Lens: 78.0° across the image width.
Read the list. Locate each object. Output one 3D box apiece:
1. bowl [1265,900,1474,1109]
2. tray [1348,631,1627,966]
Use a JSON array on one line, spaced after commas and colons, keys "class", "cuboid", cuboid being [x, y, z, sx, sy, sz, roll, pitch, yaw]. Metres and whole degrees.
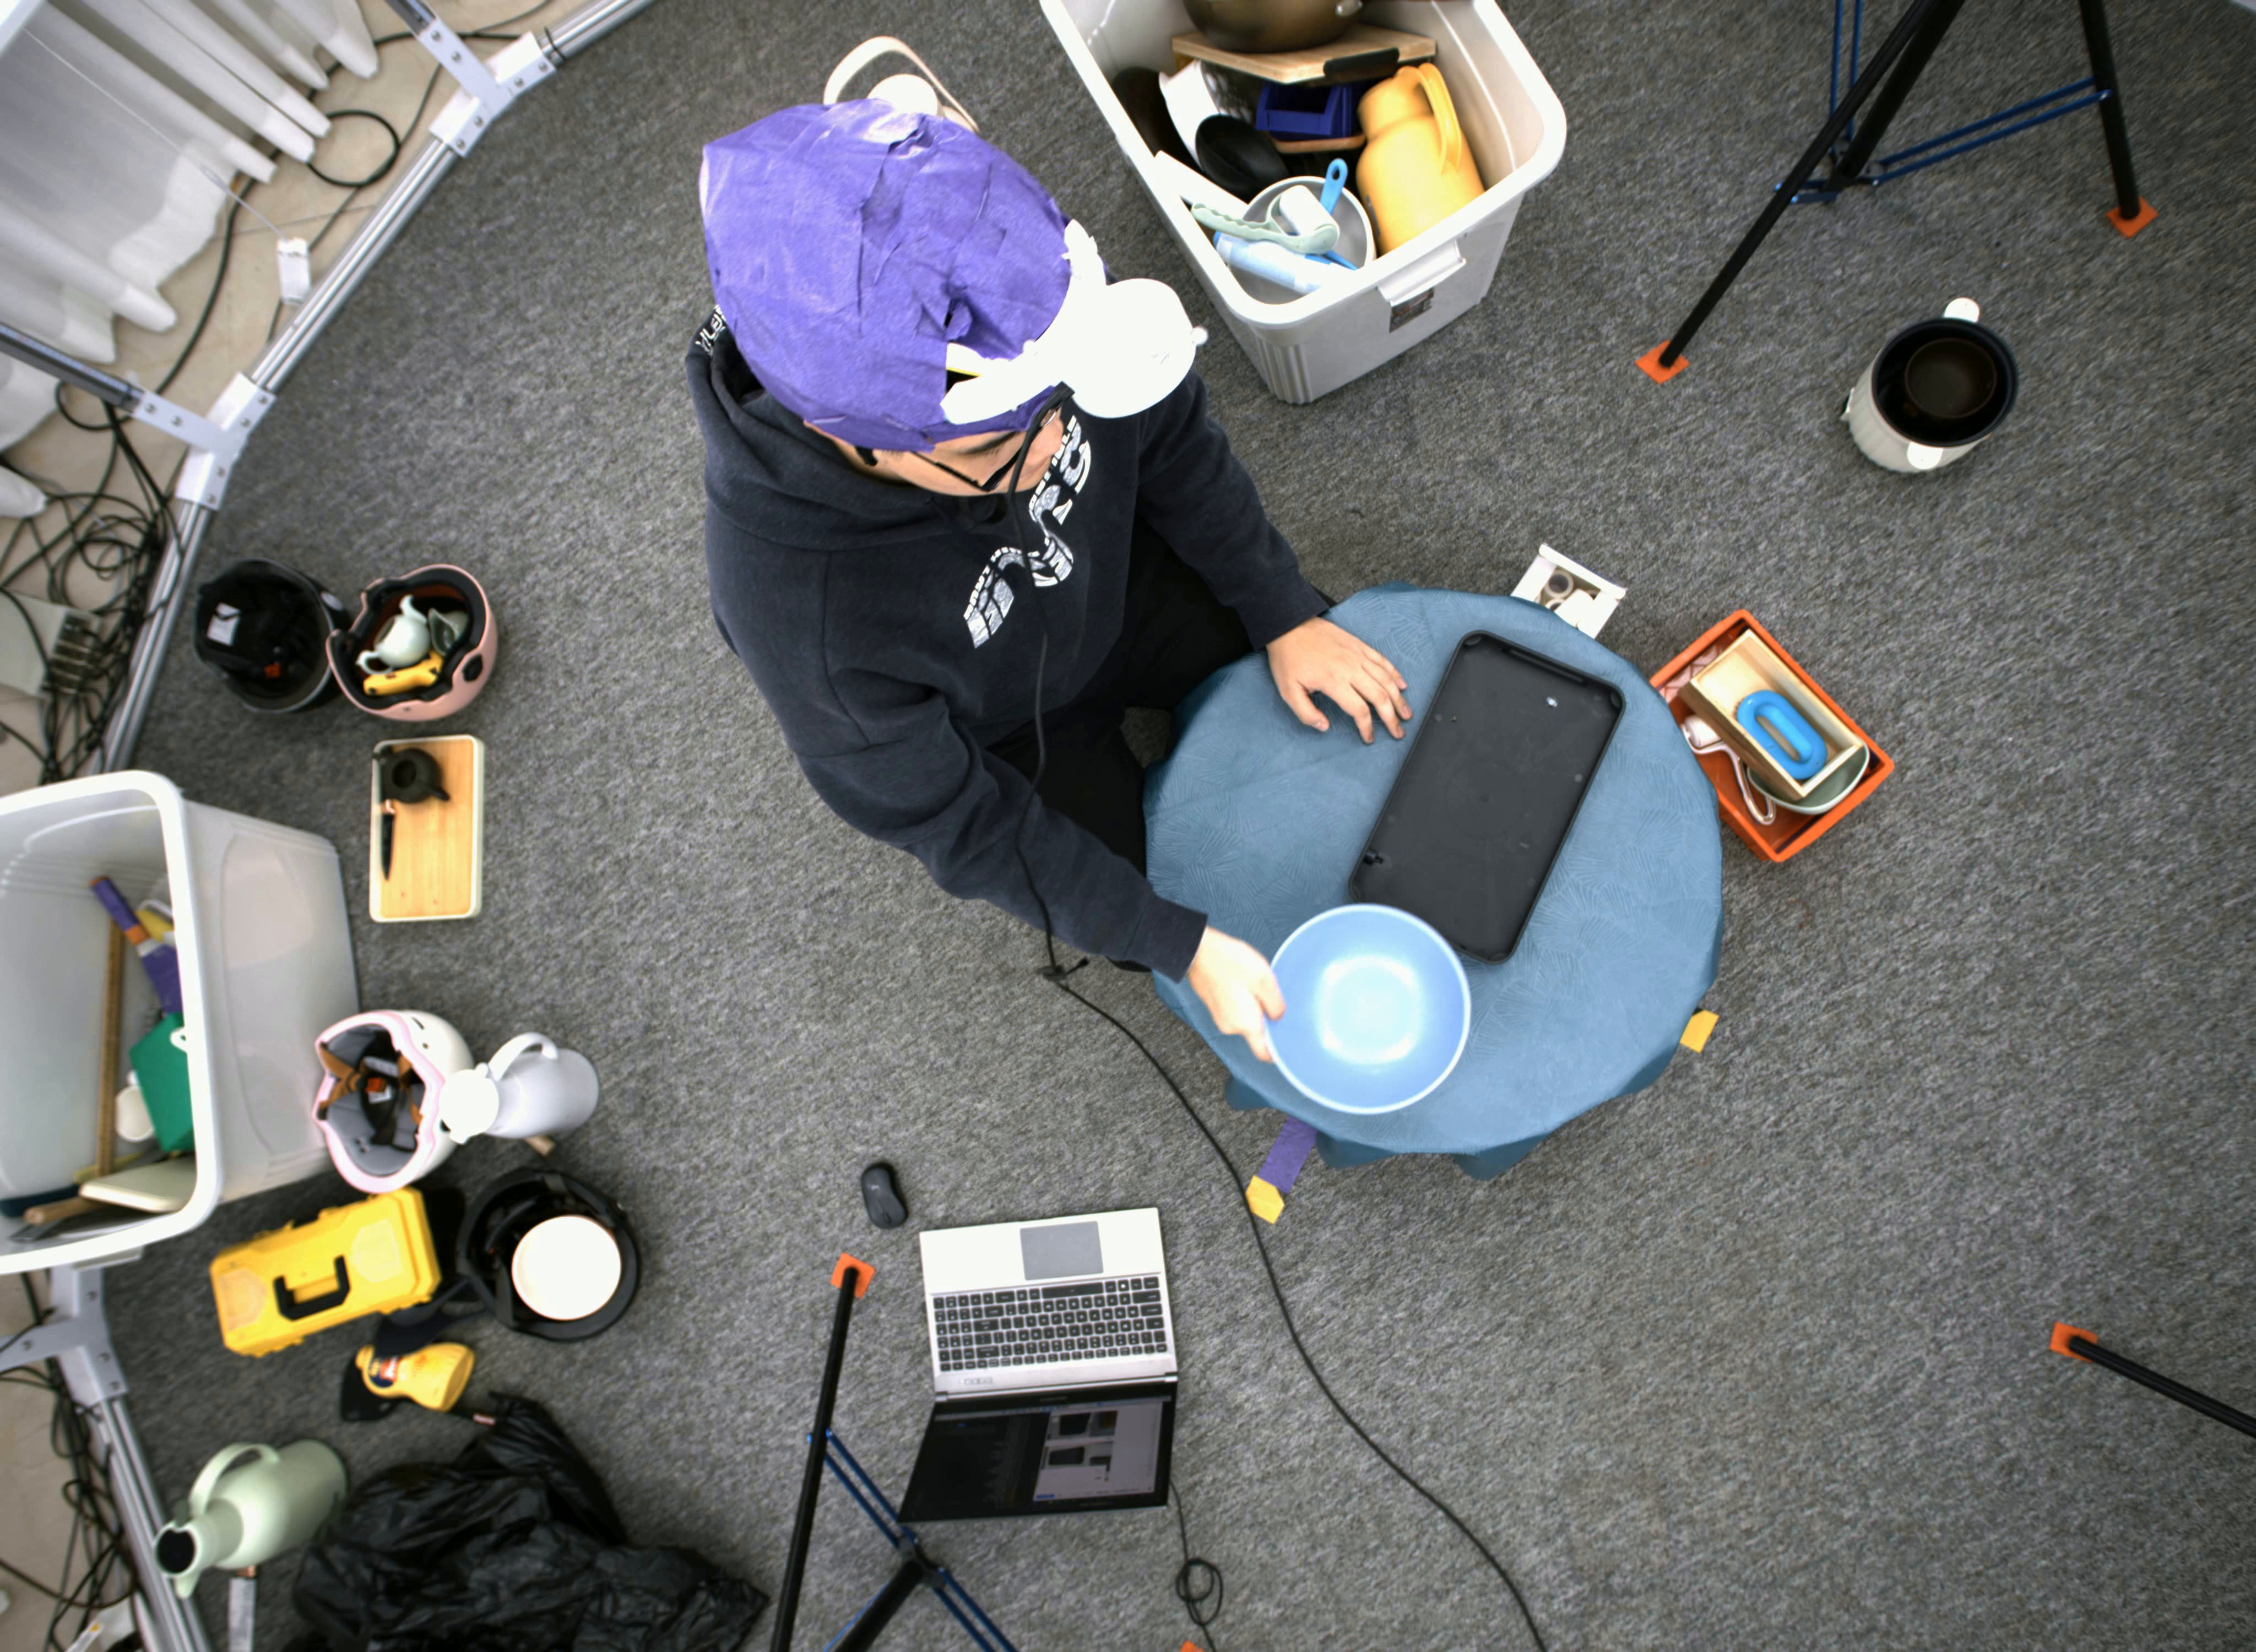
[{"class": "bowl", "cuboid": [0.237, 0.171, 1.344, 0.197, 0.095, 0.195, -2, 85, 16]}, {"class": "tray", "cuboid": [0.372, -0.031, 1.428, 0.184, 0.037, 0.318, 25, 91, 12]}]
